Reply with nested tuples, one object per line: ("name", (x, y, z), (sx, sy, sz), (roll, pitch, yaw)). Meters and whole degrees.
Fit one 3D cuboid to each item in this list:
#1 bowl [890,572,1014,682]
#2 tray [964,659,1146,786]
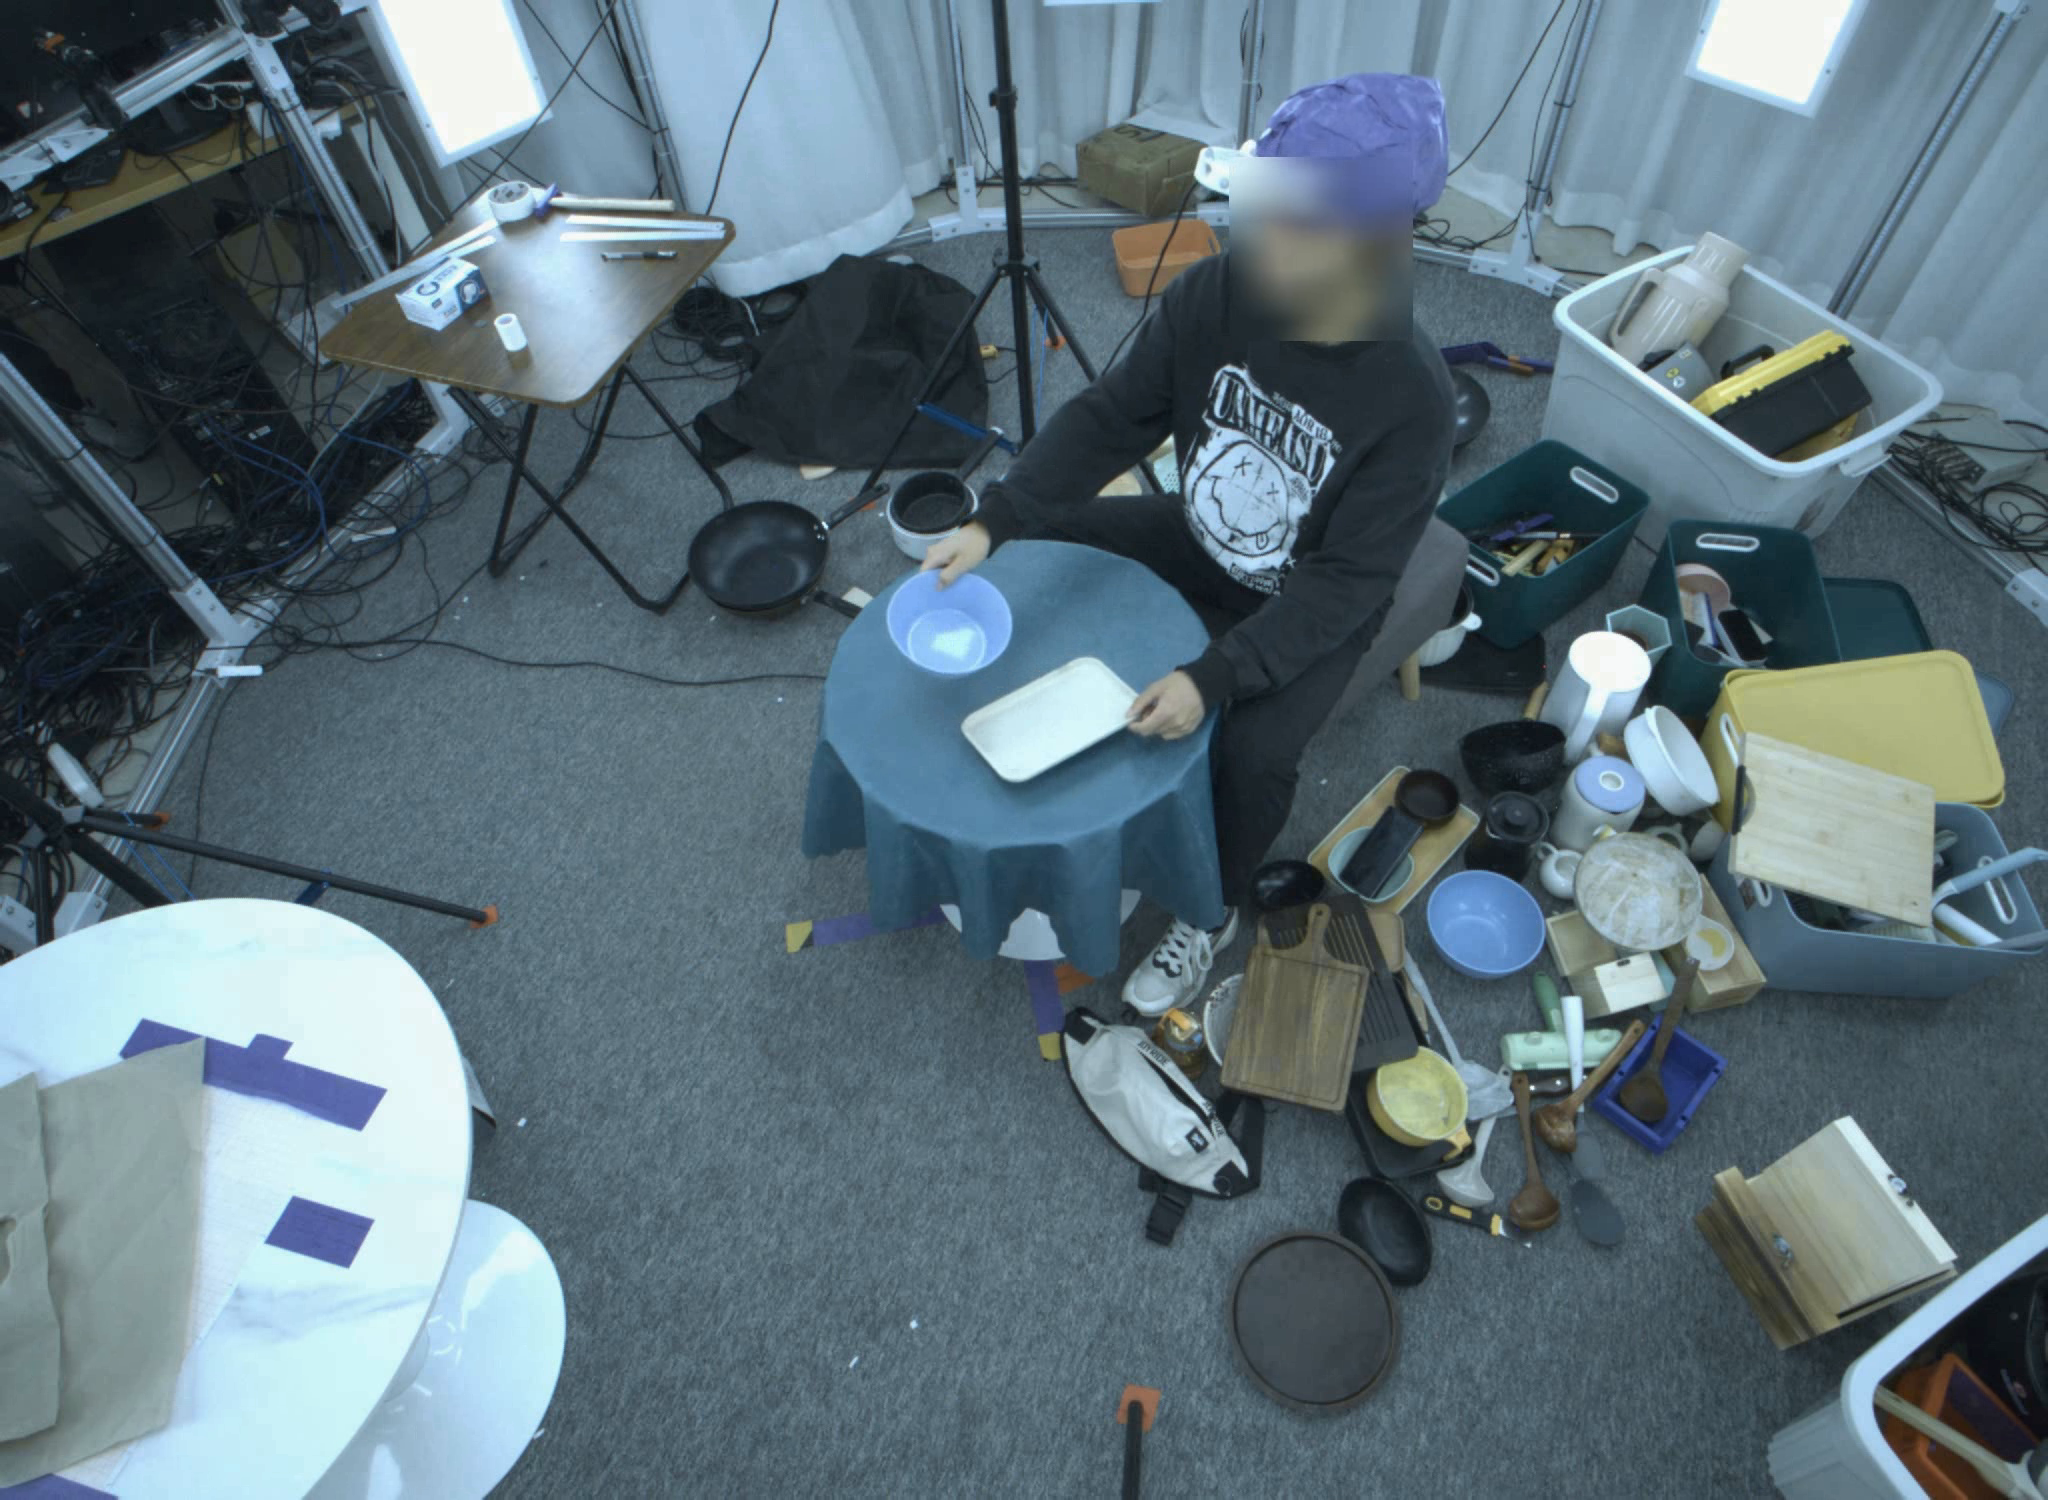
("bowl", (-0.106, -0.164, 1.748), (0.177, 0.070, 0.174), (6, 63, -10))
("tray", (0.045, -0.041, 1.795), (0.241, 0.018, 0.167), (-29, 47, -16))
